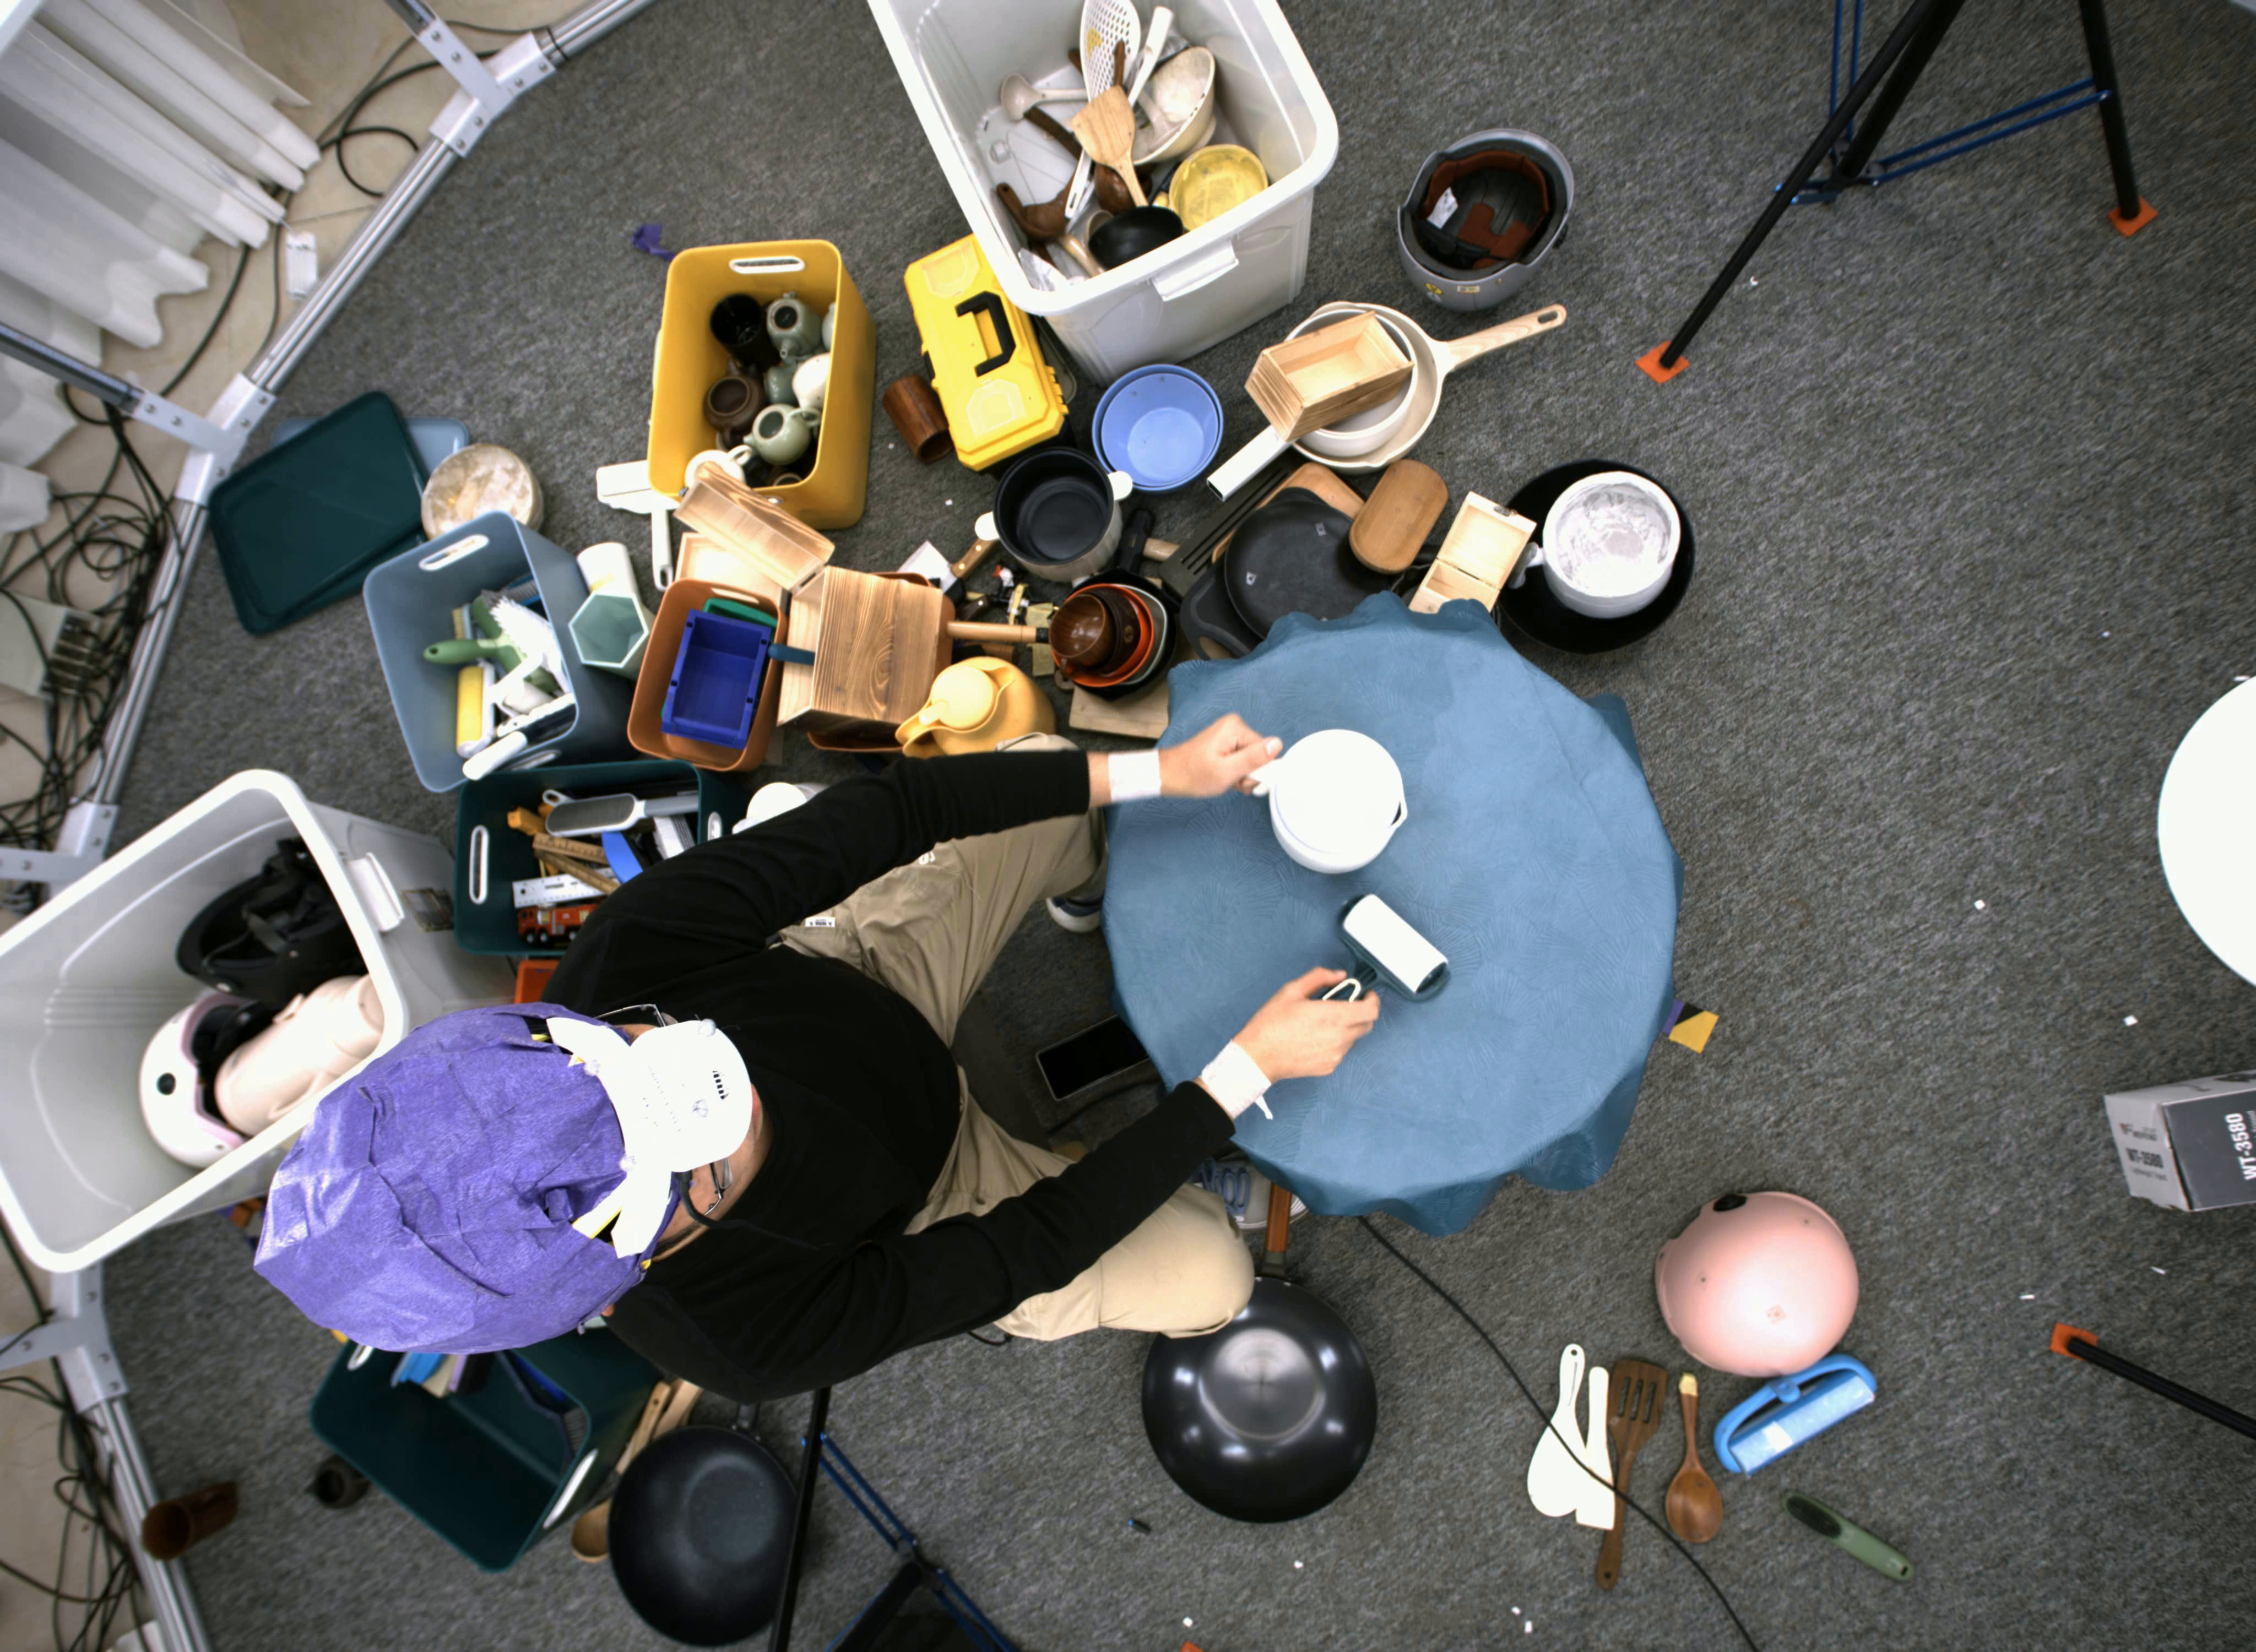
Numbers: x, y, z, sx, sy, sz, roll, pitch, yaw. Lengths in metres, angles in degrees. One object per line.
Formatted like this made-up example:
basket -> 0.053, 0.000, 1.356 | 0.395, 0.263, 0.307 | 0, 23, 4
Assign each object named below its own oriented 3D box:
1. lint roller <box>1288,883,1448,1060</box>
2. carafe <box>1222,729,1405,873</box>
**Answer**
lint roller -> 0.220, 0.163, 1.392 | 0.133, 0.048, 0.181 | 43, 96, 18
carafe -> 0.185, -0.033, 1.392 | 0.191, 0.183, 0.132 | 21, 87, 11
